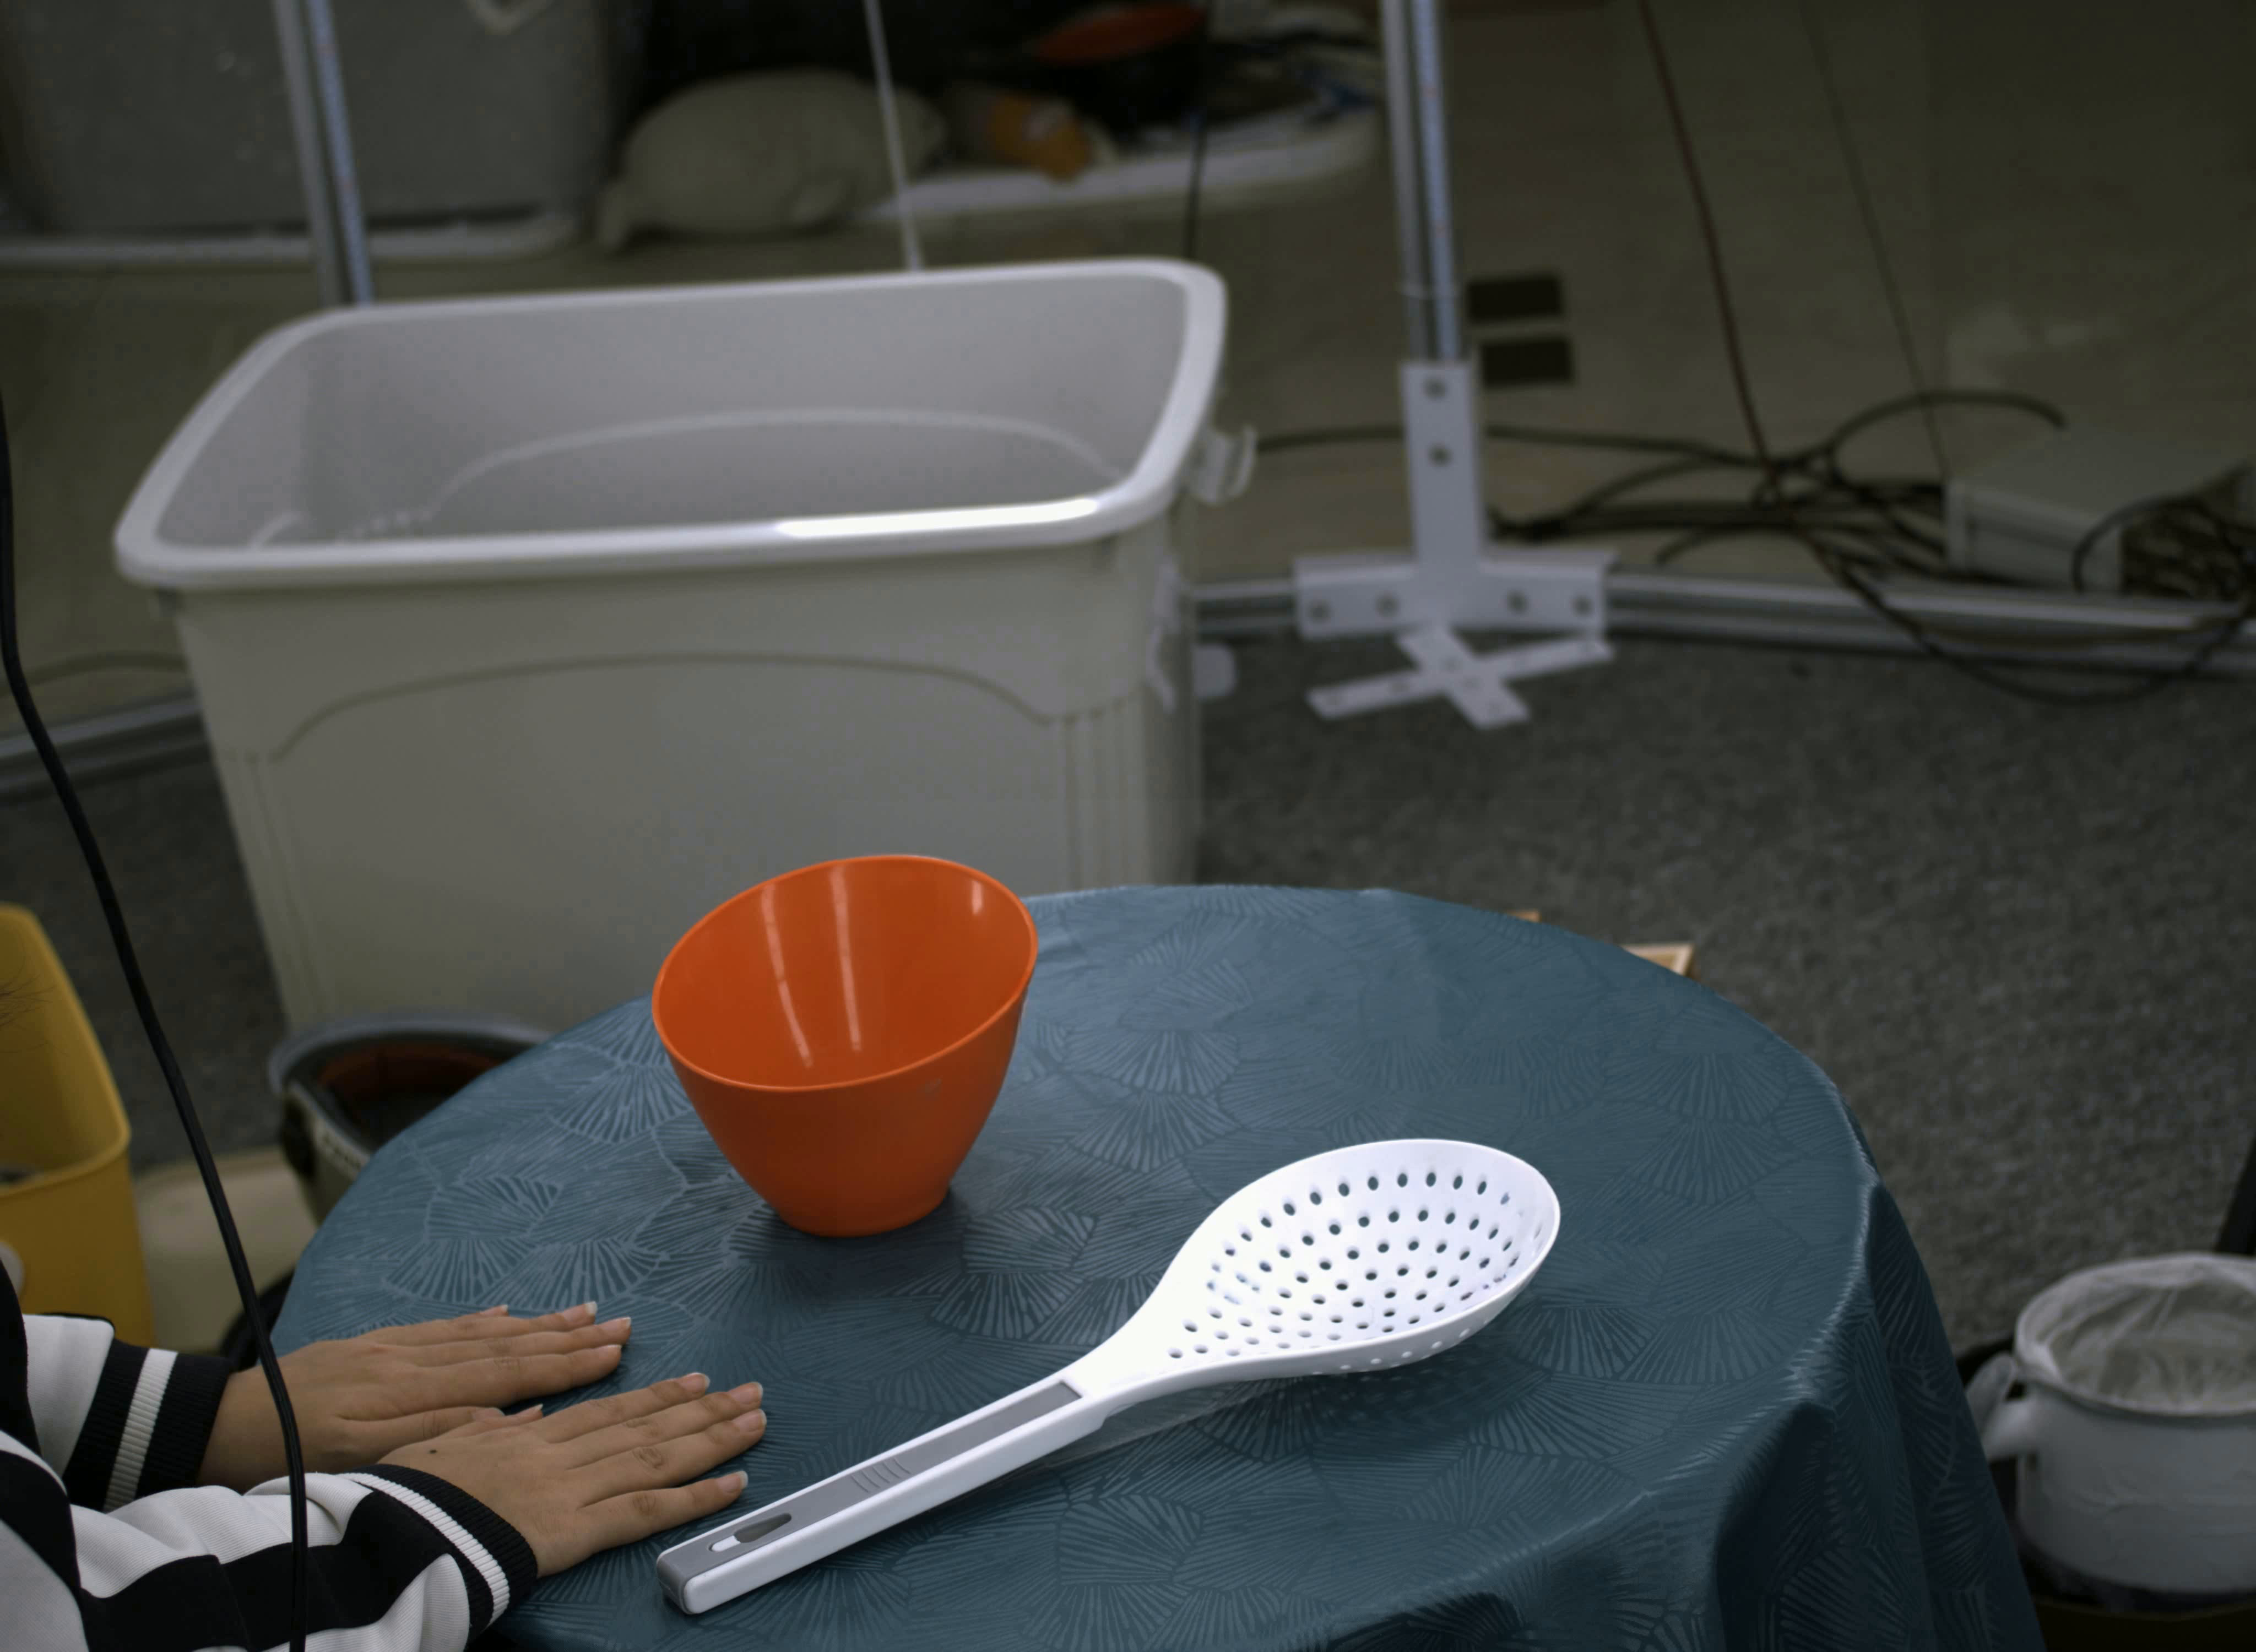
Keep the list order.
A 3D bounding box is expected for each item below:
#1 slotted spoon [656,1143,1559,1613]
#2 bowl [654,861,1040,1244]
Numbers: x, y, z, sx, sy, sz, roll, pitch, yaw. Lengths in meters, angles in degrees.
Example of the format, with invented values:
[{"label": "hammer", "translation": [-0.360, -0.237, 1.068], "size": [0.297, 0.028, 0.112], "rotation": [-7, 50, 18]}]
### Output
[{"label": "slotted spoon", "translation": [-0.005, 0.194, 1.978], "size": [0.348, 0.046, 0.134], "rotation": [-19, 26, -23]}, {"label": "bowl", "translation": [-0.103, 0.092, 2.154], "size": [0.148, 0.106, 0.146], "rotation": [-4, 27, 2]}]
